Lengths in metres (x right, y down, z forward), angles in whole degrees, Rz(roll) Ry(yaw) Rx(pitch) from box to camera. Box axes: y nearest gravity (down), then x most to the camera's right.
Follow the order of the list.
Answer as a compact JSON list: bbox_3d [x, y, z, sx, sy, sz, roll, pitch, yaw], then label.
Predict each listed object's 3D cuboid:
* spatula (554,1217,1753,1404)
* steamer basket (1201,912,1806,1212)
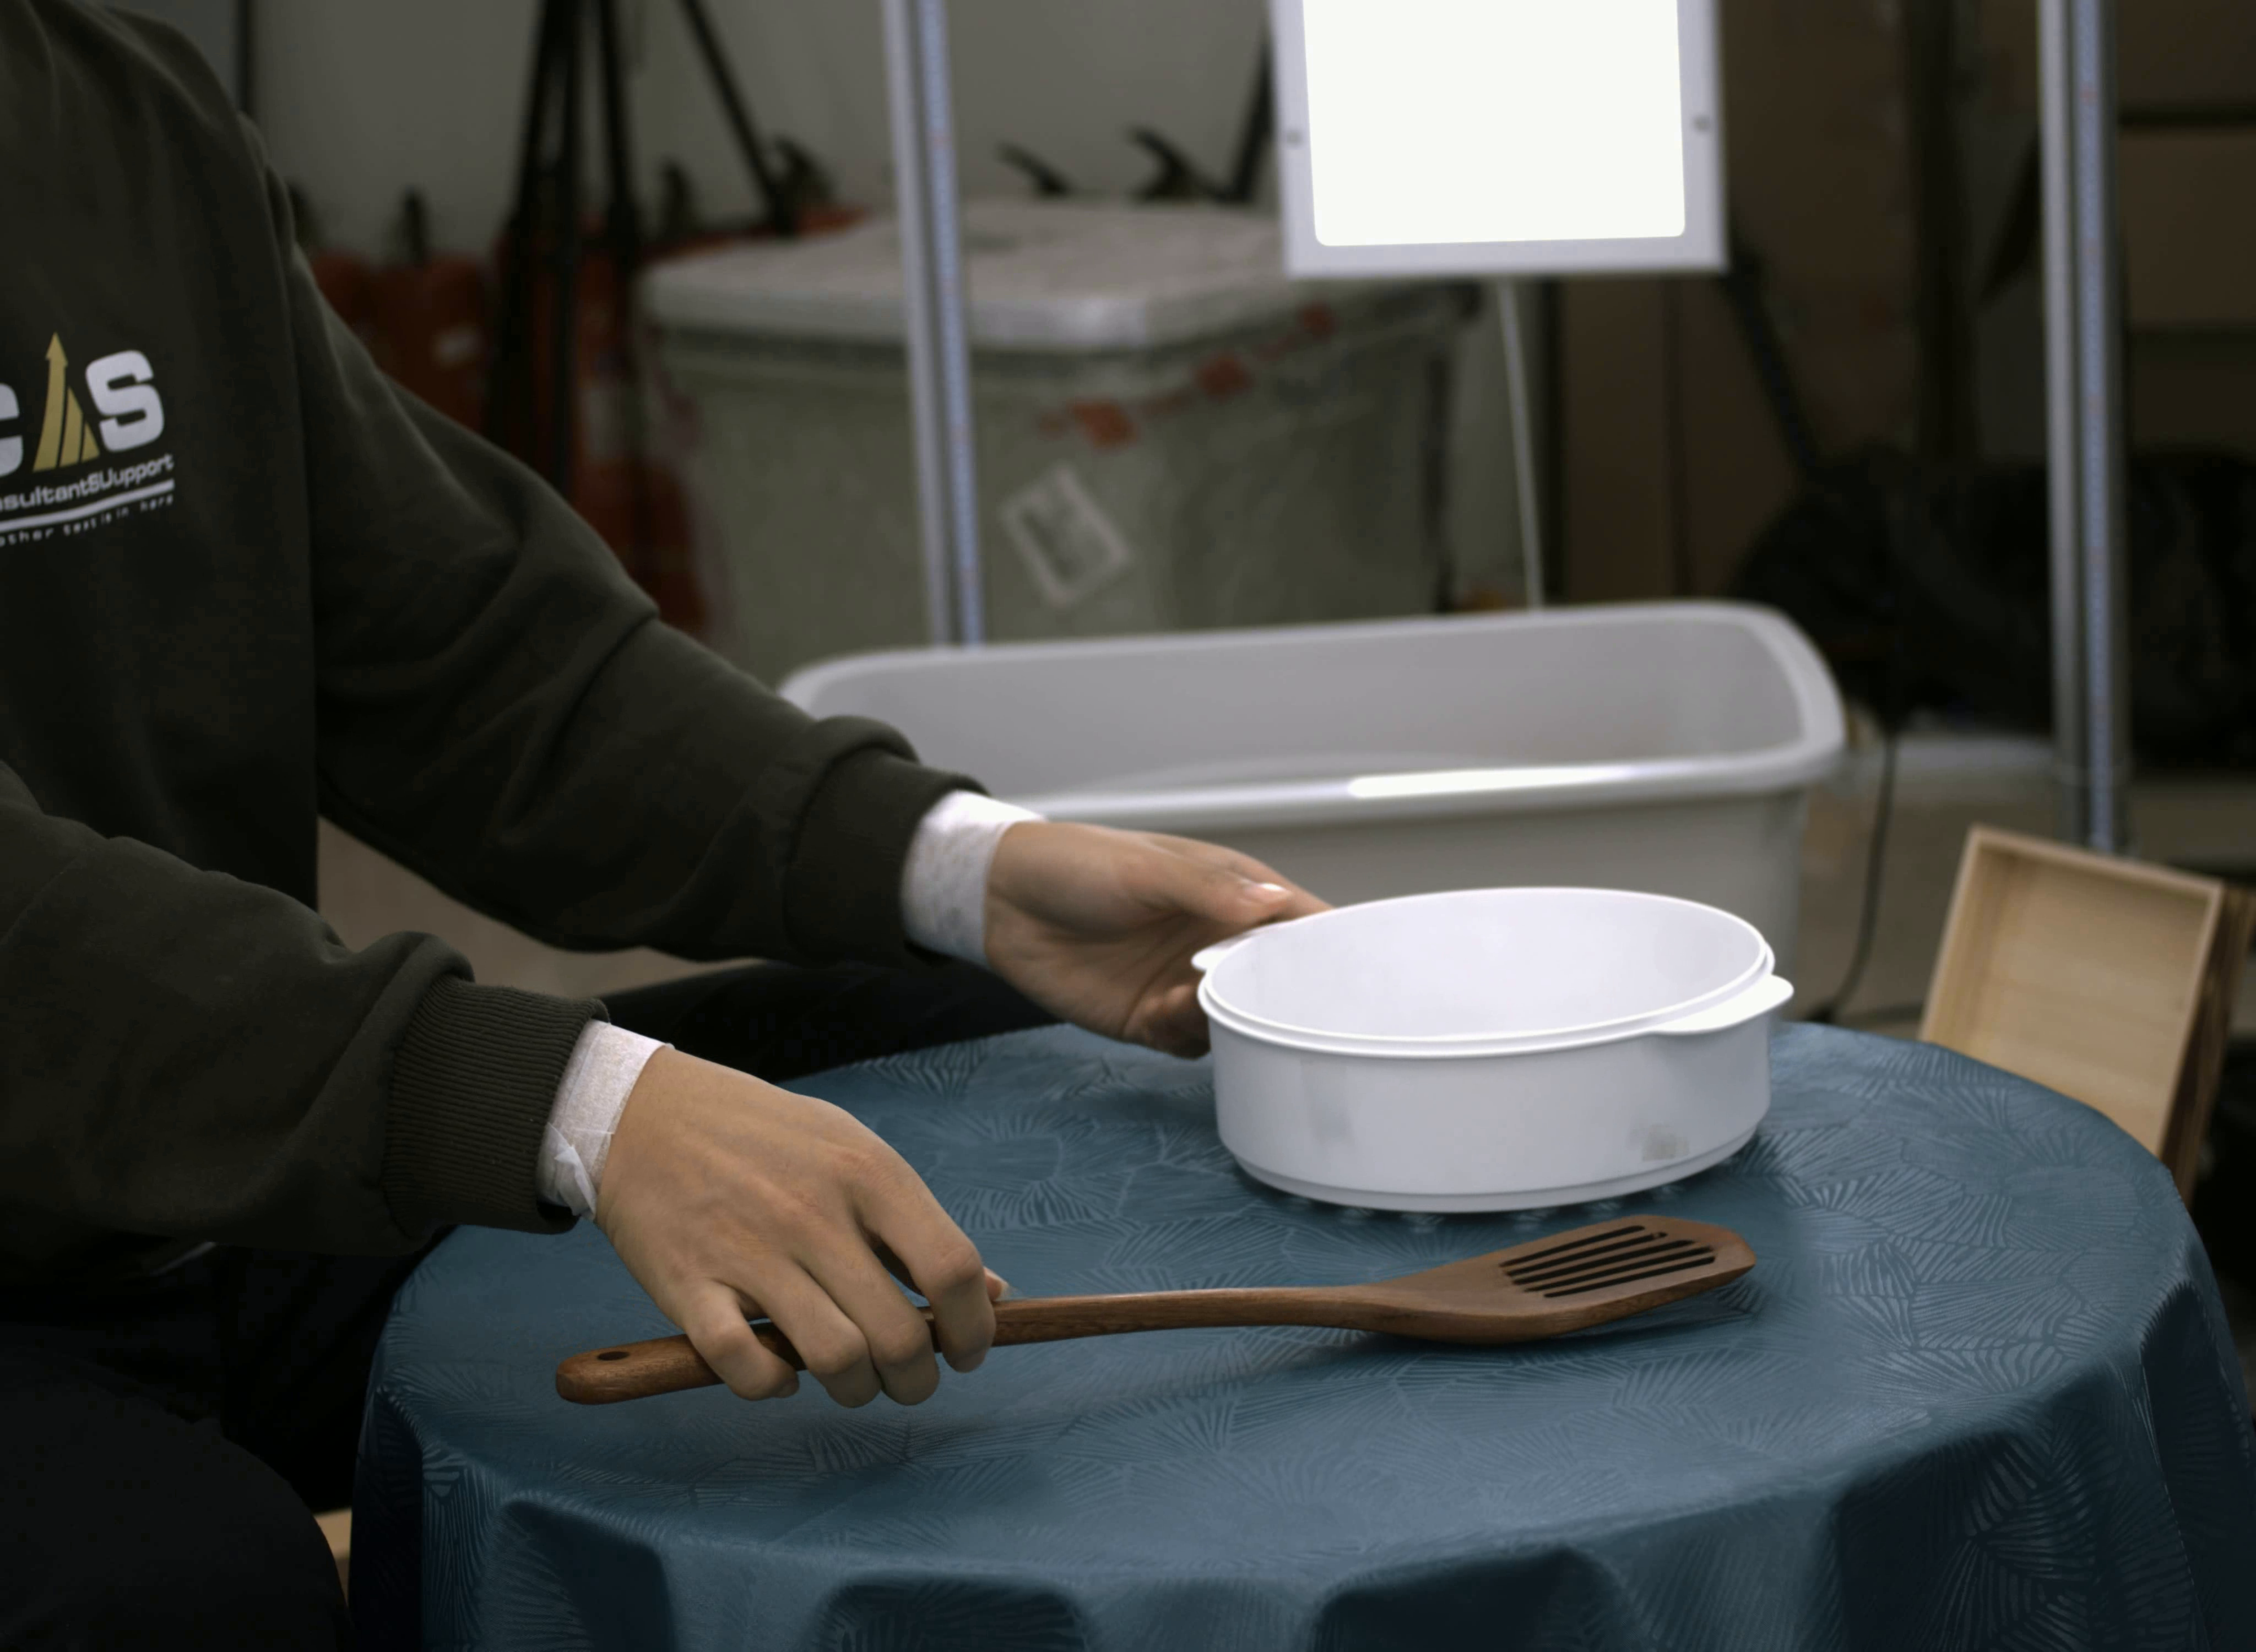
[{"bbox_3d":[0.010,0.154,1.700,0.379,0.024,0.087,-4,9,-17],"label":"spatula"},{"bbox_3d":[0.130,0.082,1.908,0.235,0.069,0.197,2,13,41],"label":"steamer basket"}]
